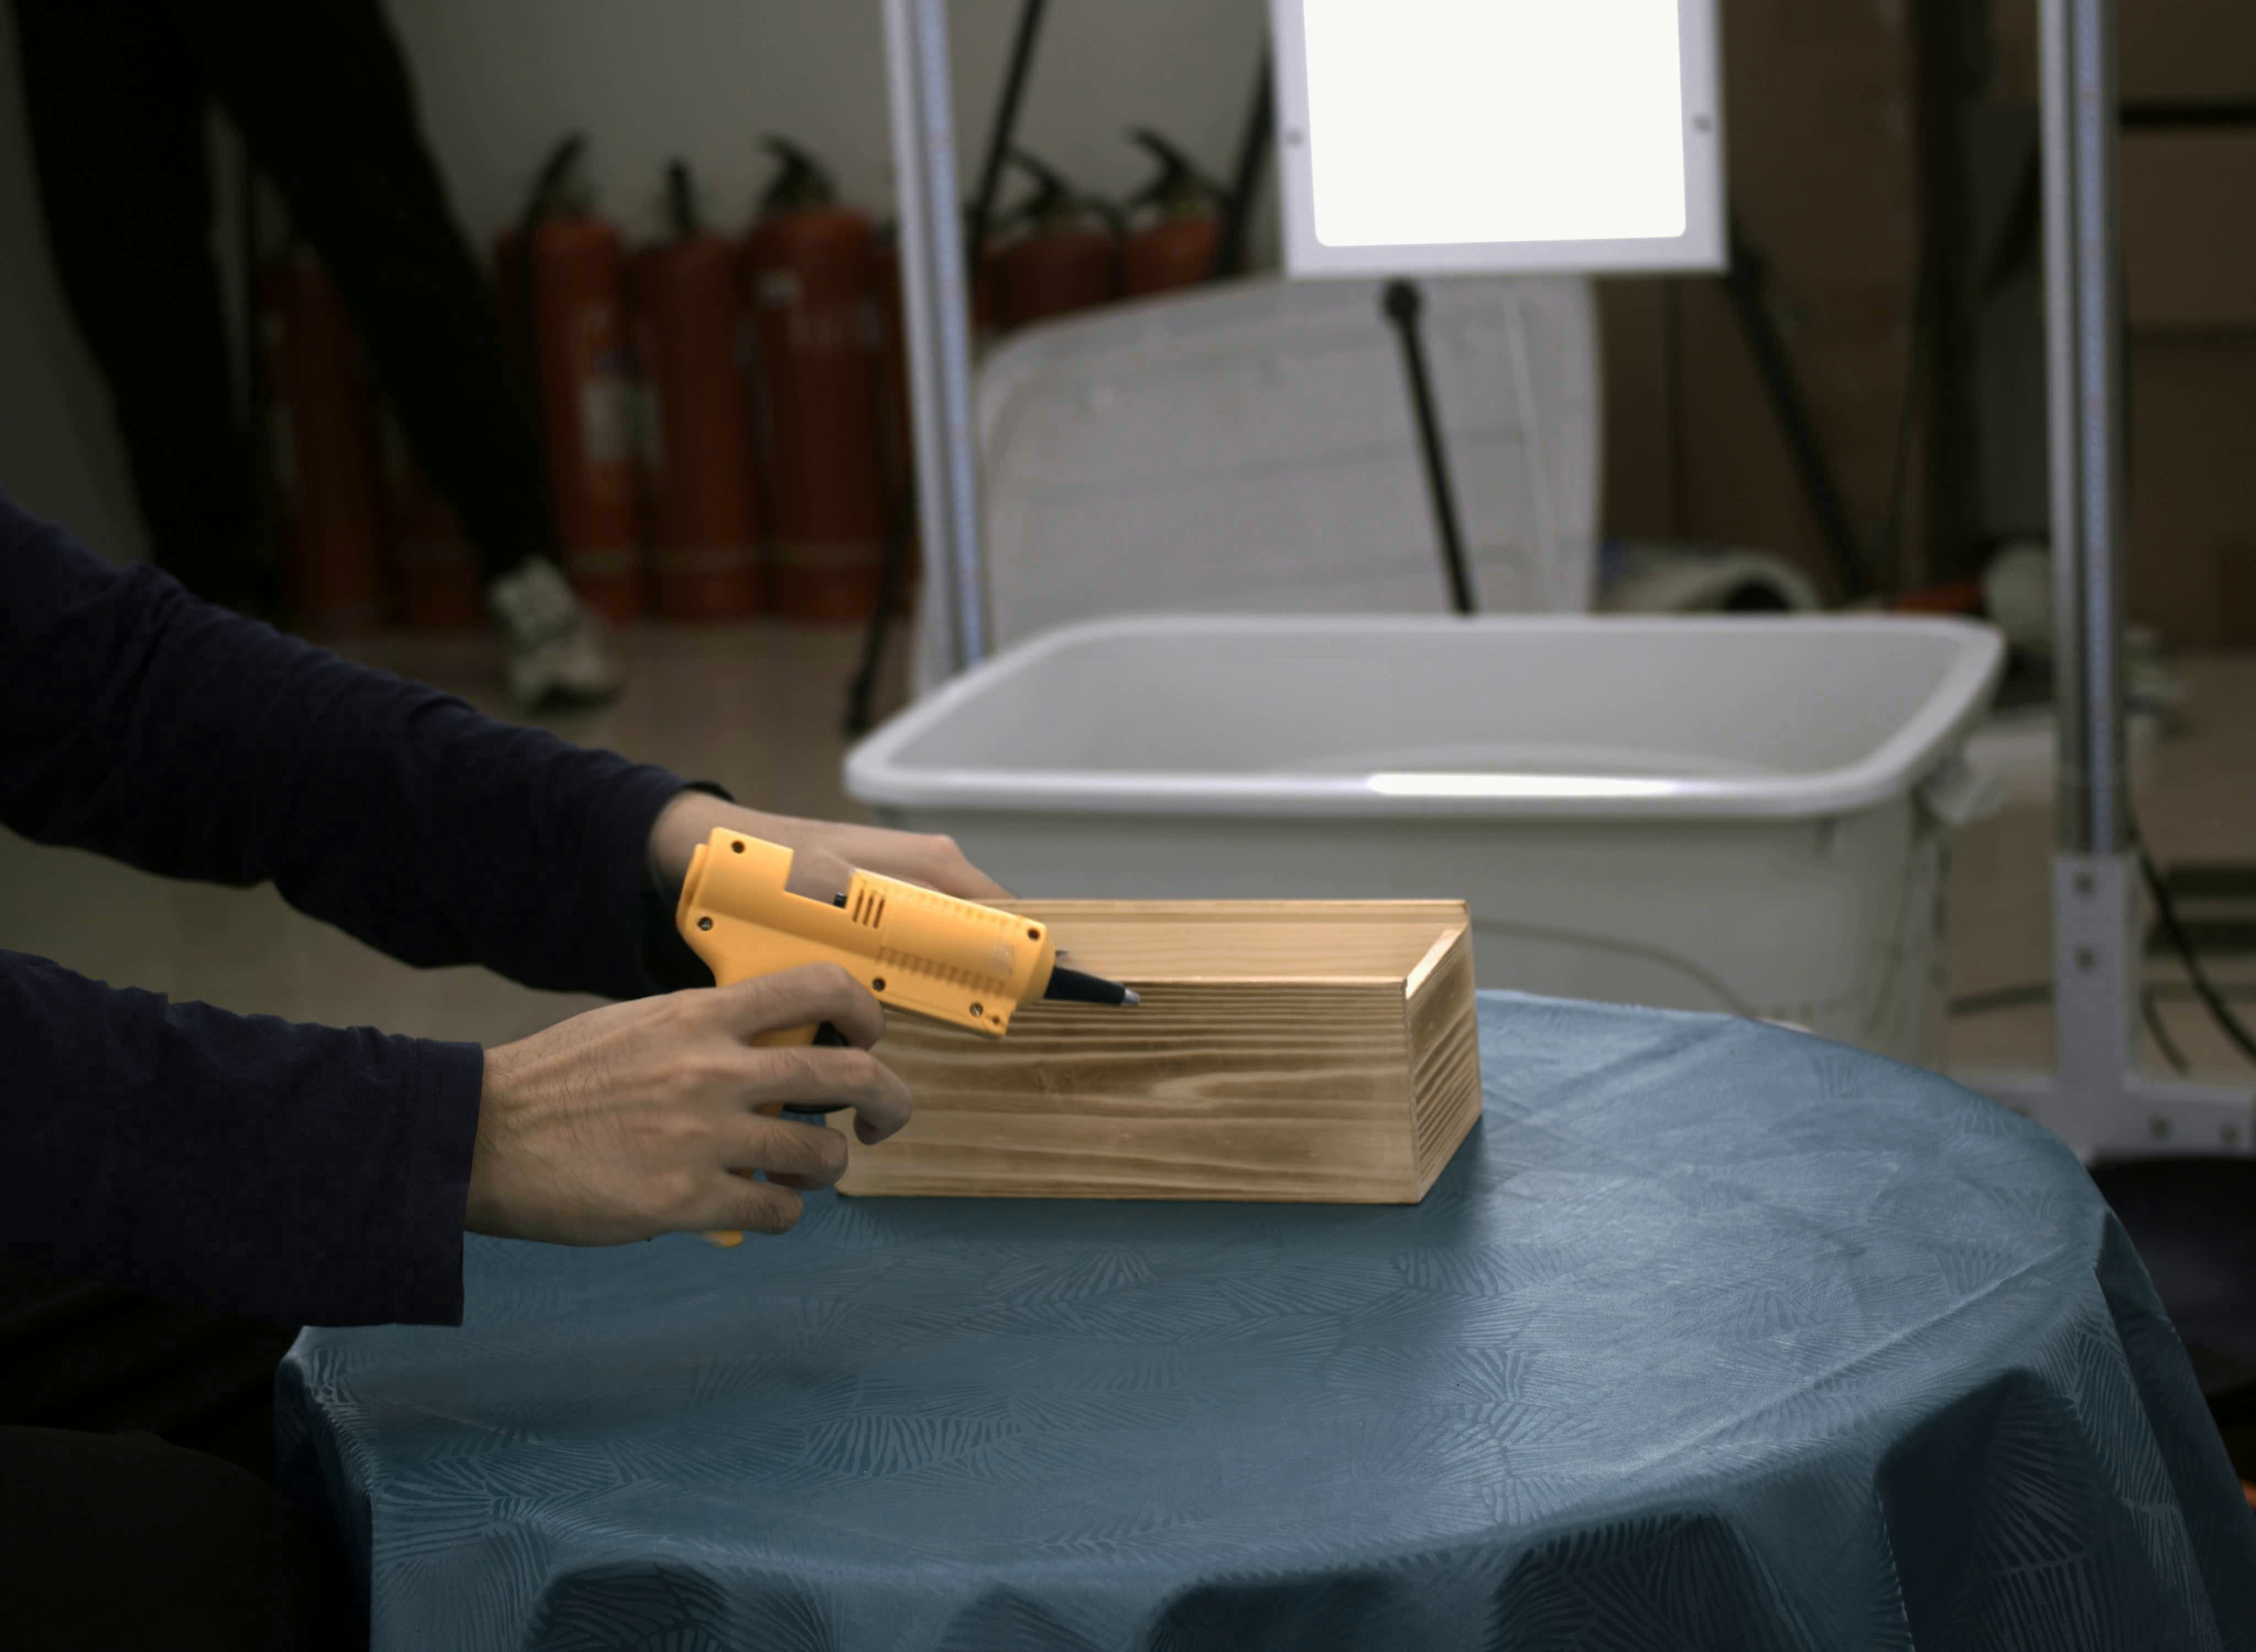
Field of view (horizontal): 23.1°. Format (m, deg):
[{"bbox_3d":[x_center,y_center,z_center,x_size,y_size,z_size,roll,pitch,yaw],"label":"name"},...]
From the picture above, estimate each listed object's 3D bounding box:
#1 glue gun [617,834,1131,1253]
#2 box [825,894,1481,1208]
[{"bbox_3d":[-0.078,0.079,1.753,0.150,0.133,0.031,10,-14,-3],"label":"glue gun"},{"bbox_3d":[0.009,0.077,1.930,0.214,0.080,0.106,1,15,19],"label":"box"}]
